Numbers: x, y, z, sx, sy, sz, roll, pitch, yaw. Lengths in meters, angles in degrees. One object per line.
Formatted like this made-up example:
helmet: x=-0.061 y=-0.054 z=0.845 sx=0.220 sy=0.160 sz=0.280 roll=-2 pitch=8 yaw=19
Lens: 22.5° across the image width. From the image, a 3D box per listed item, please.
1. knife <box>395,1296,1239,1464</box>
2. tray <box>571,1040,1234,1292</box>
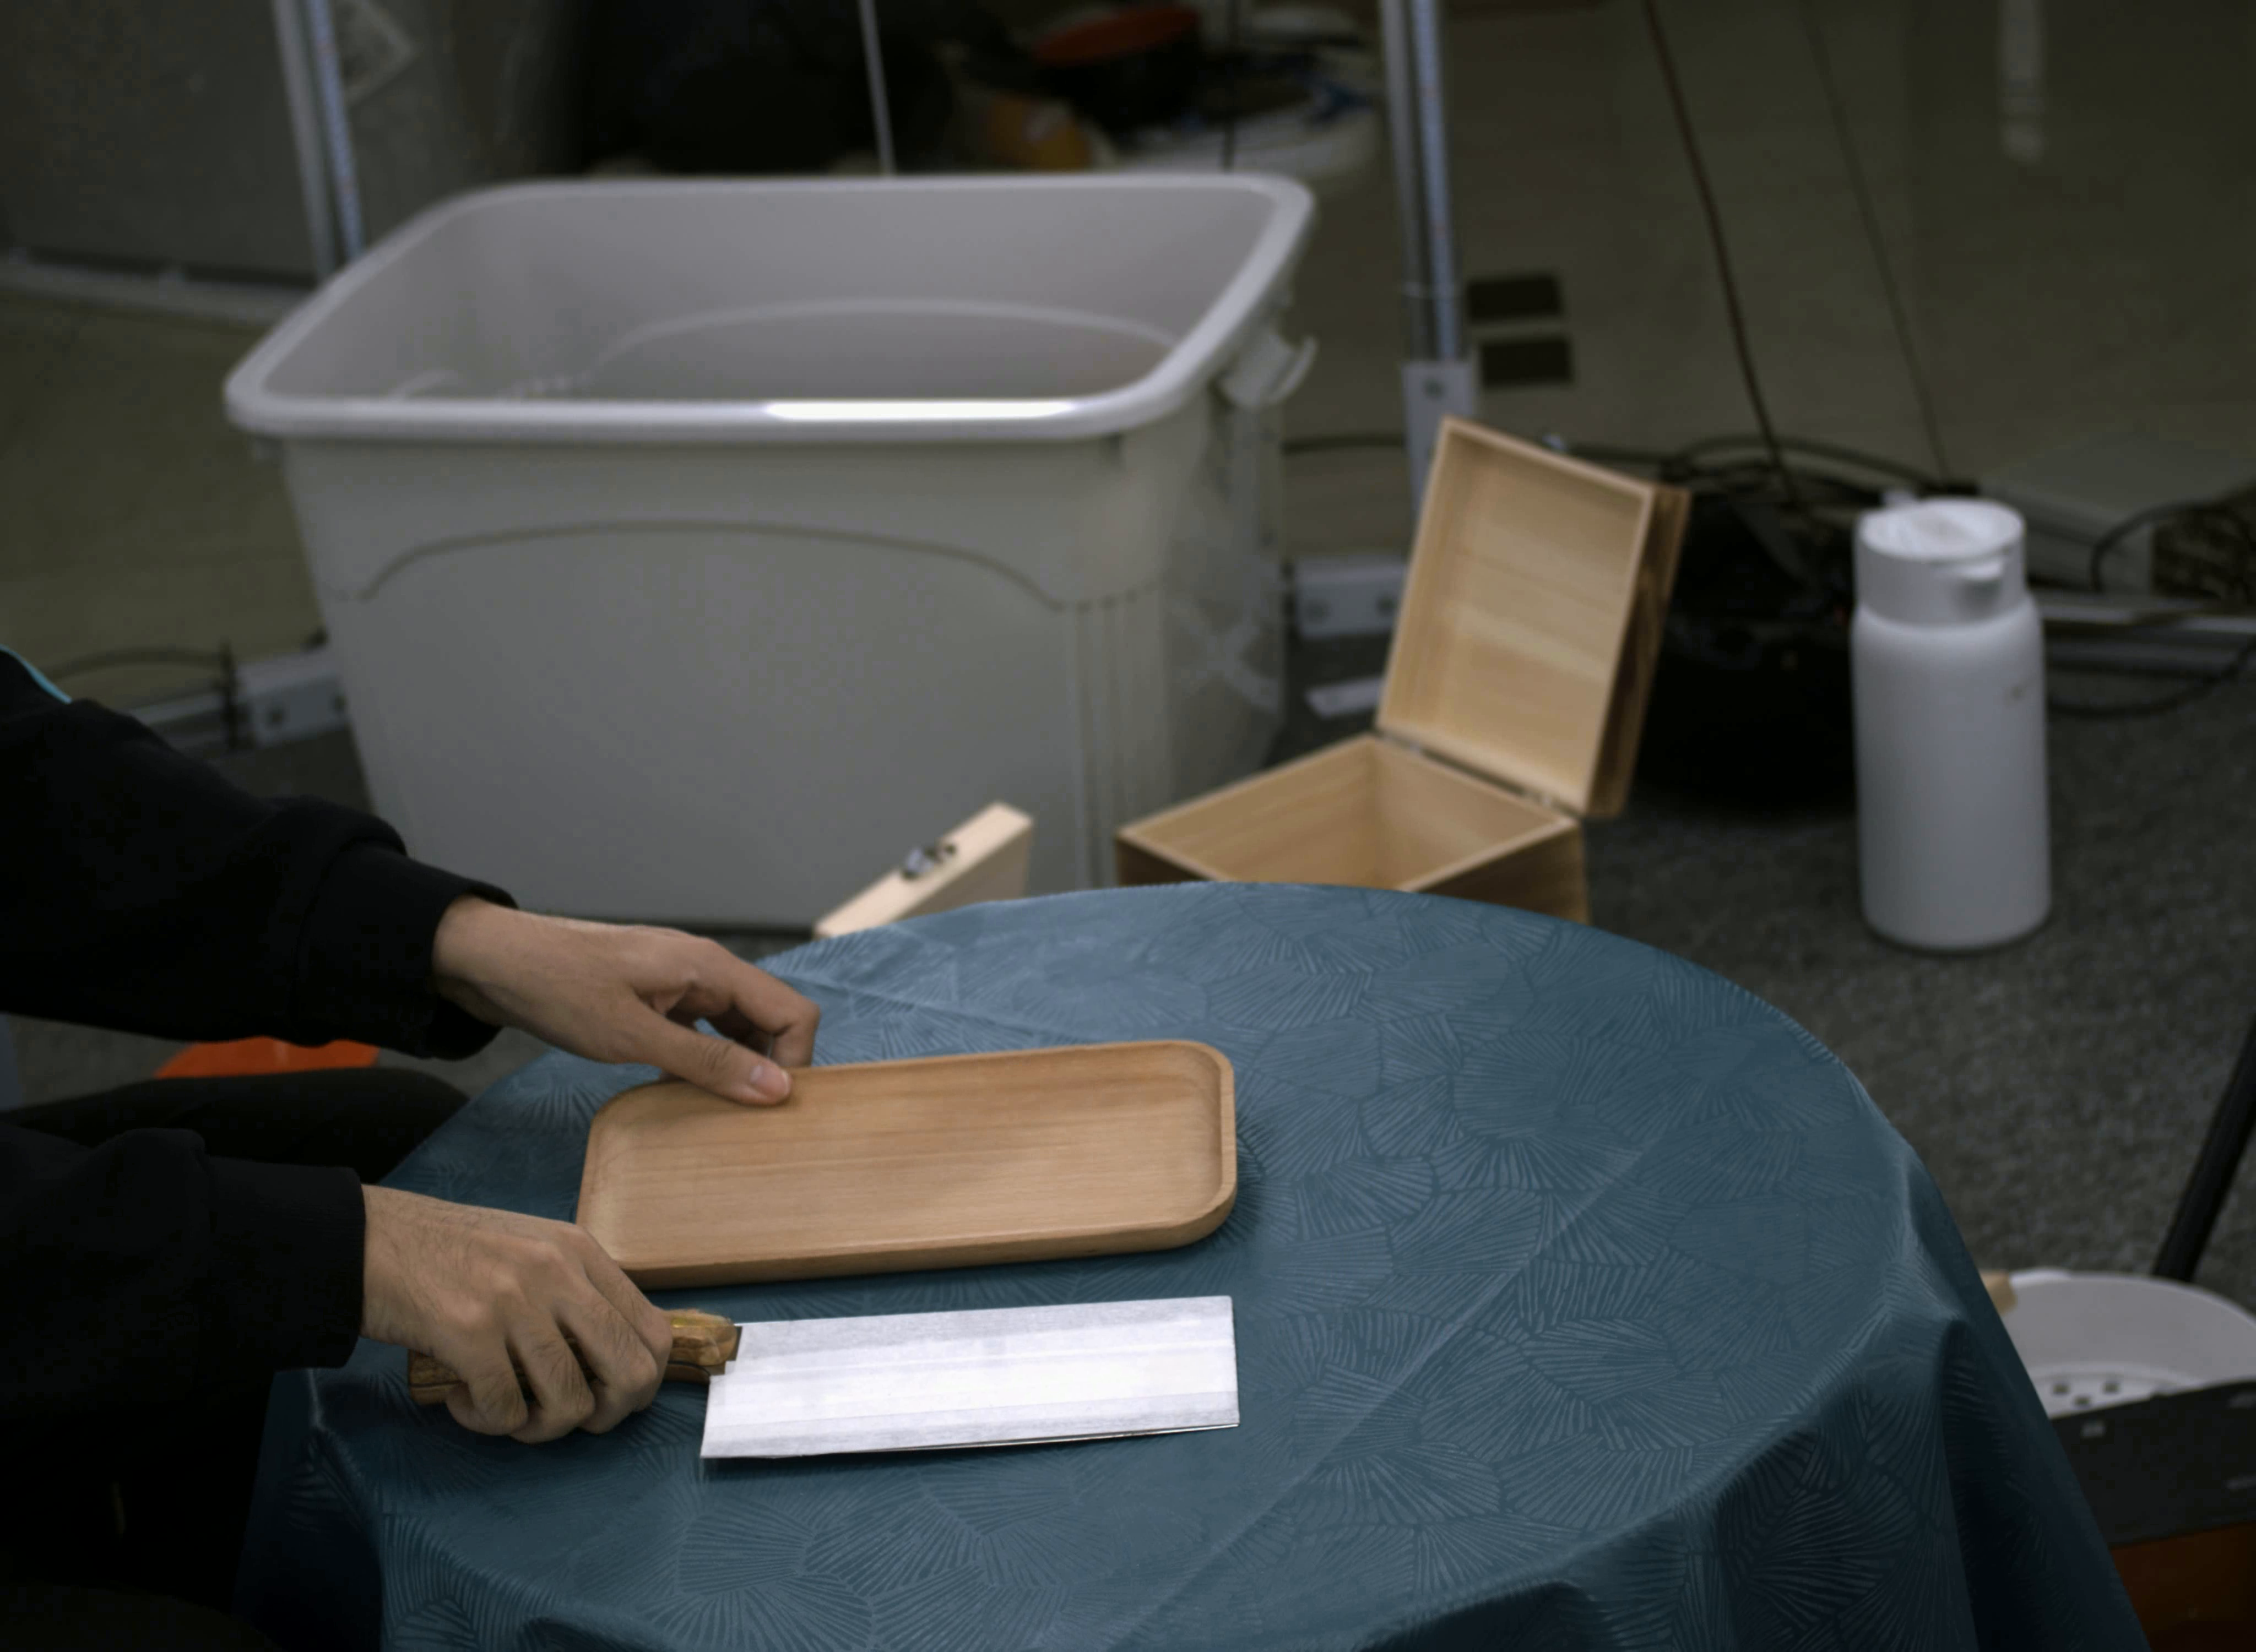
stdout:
knife: x=-0.113 y=0.199 z=2.028 sx=0.305 sy=0.021 sz=0.091 roll=-3 pitch=26 yaw=1
tray: x=-0.084 y=0.130 z=2.155 sx=0.250 sy=0.023 sz=0.128 roll=-5 pitch=29 yaw=5
